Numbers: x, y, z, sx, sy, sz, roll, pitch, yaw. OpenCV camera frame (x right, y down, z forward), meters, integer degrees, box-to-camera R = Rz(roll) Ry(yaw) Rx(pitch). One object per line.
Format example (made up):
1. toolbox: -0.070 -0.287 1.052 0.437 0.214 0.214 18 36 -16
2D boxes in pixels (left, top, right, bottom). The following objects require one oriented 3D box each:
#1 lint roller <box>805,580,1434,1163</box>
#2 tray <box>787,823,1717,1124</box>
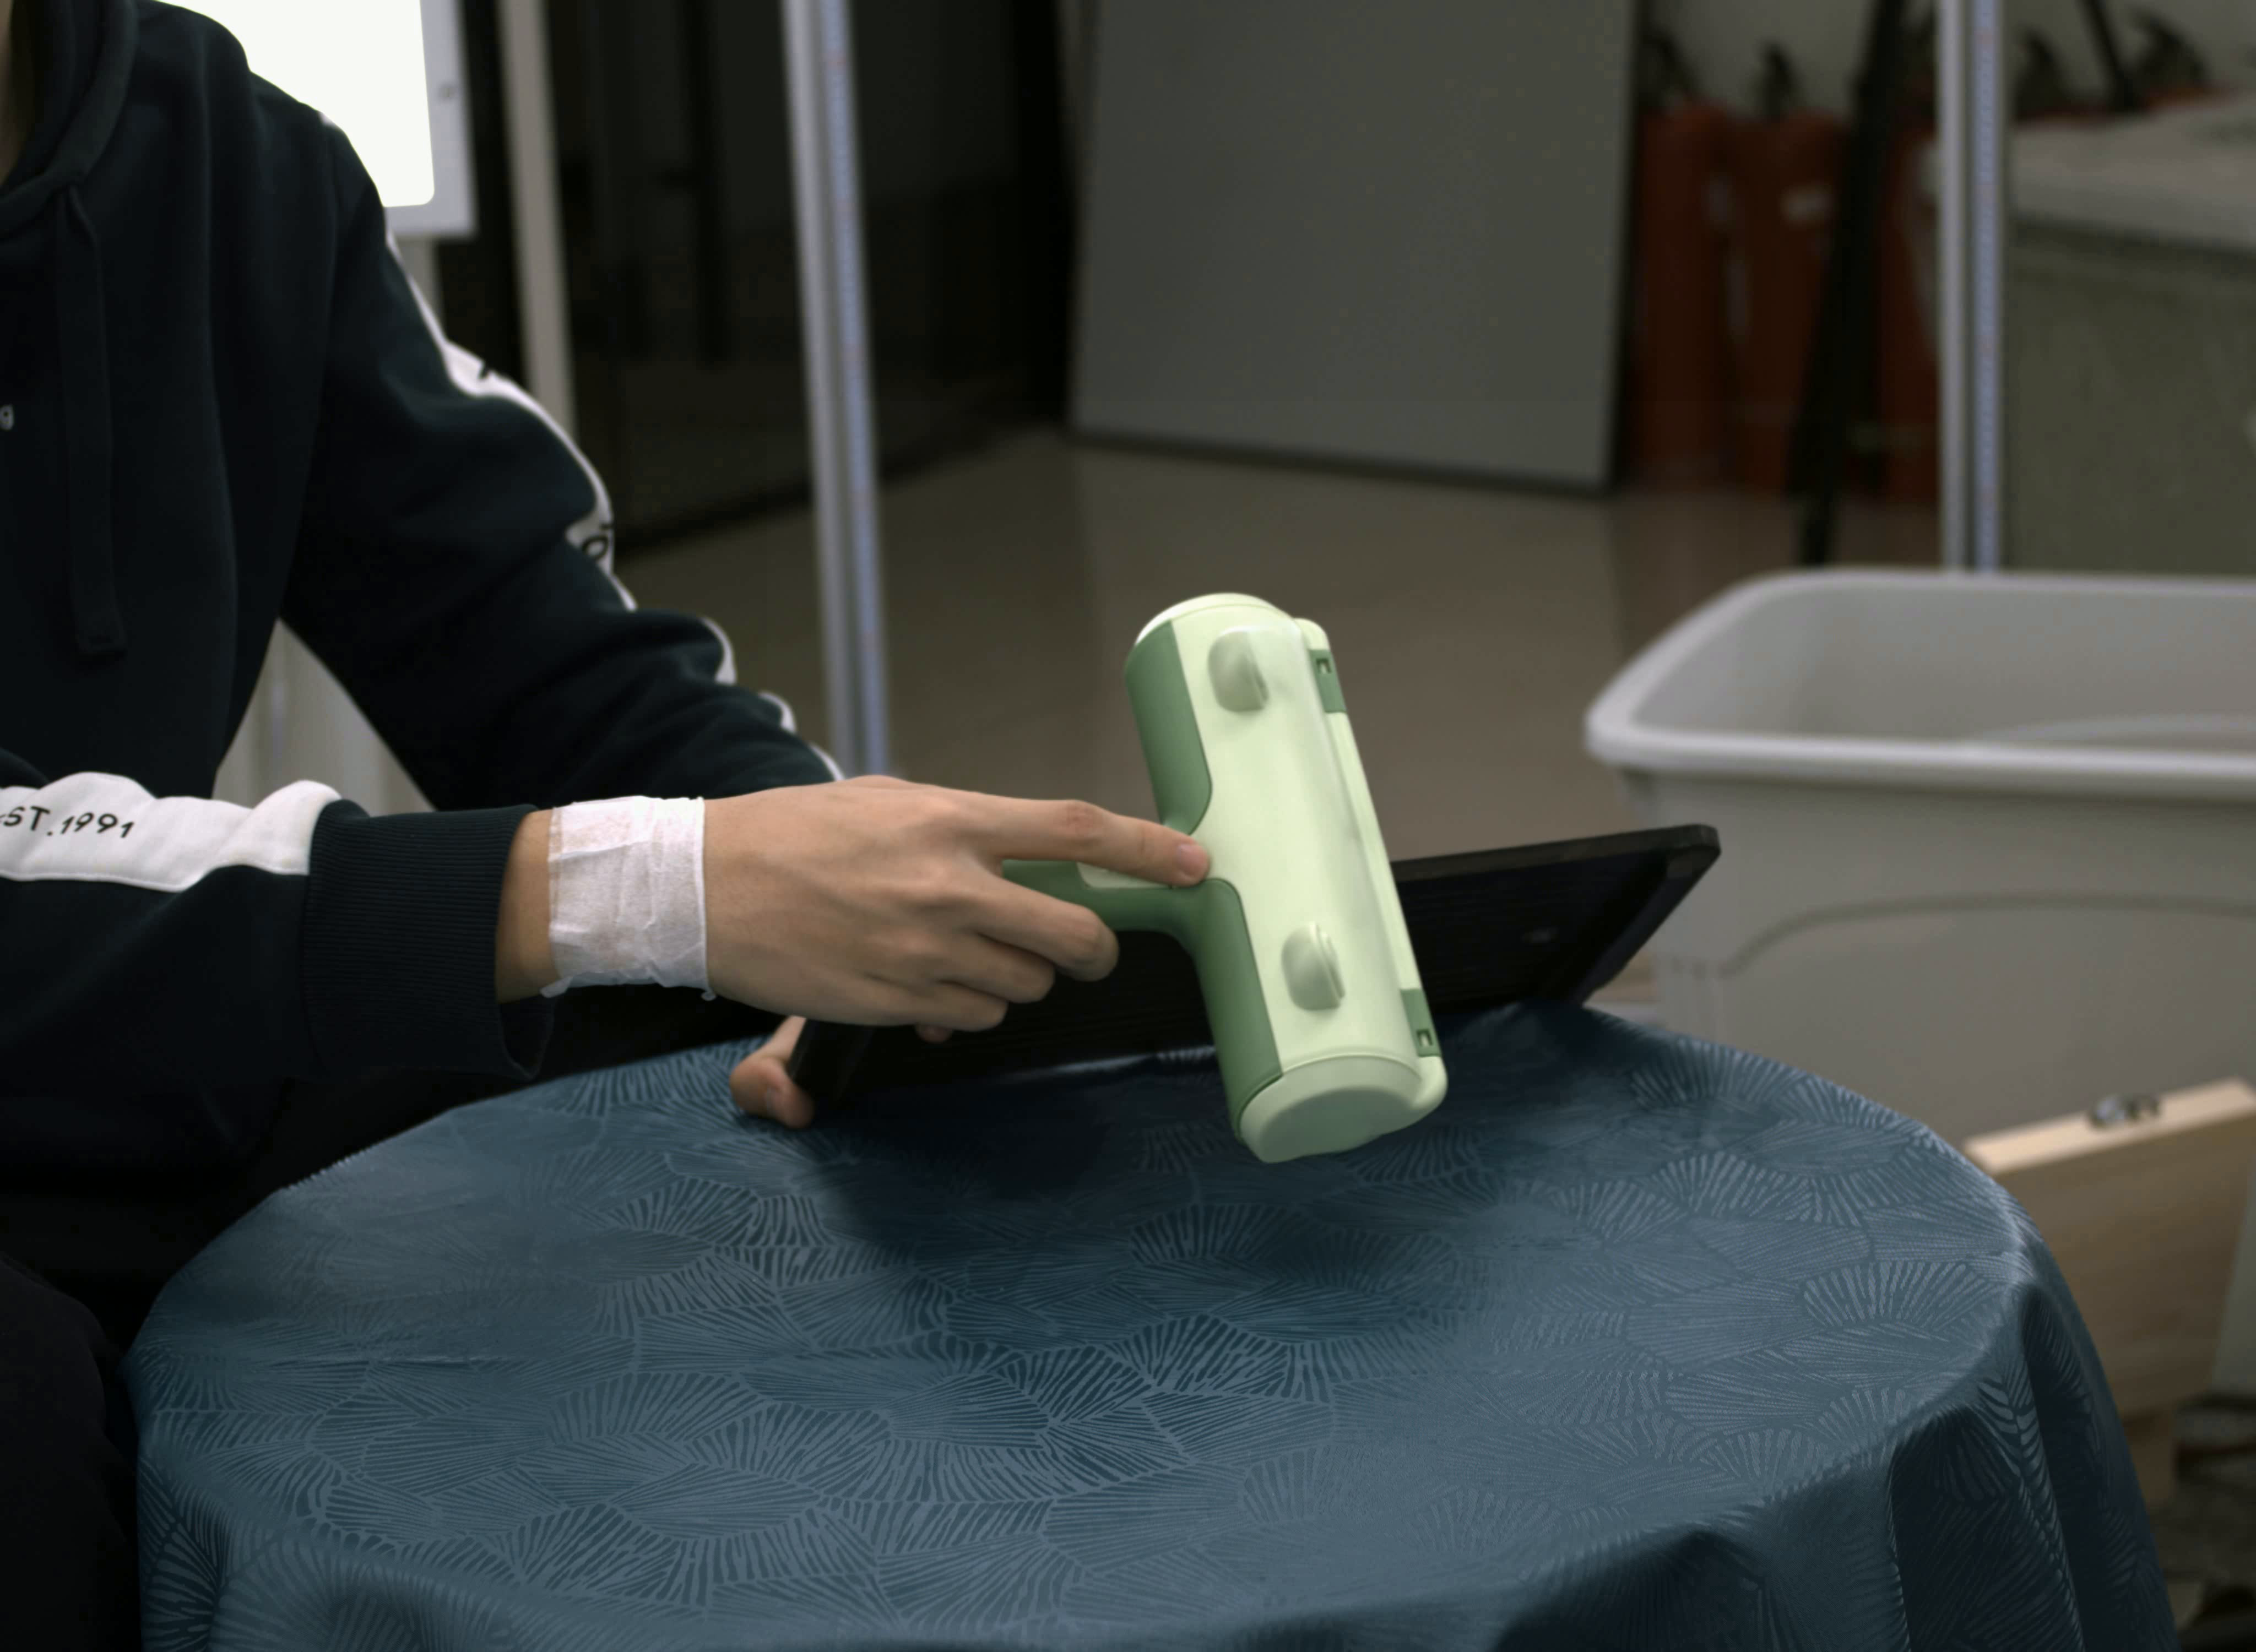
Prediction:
1. lint roller: -0.007 0.008 1.695 0.179 0.083 0.201 1 54 -19
2. tray: 0.040 0.053 1.837 0.300 0.019 0.171 -7 -19 -13
